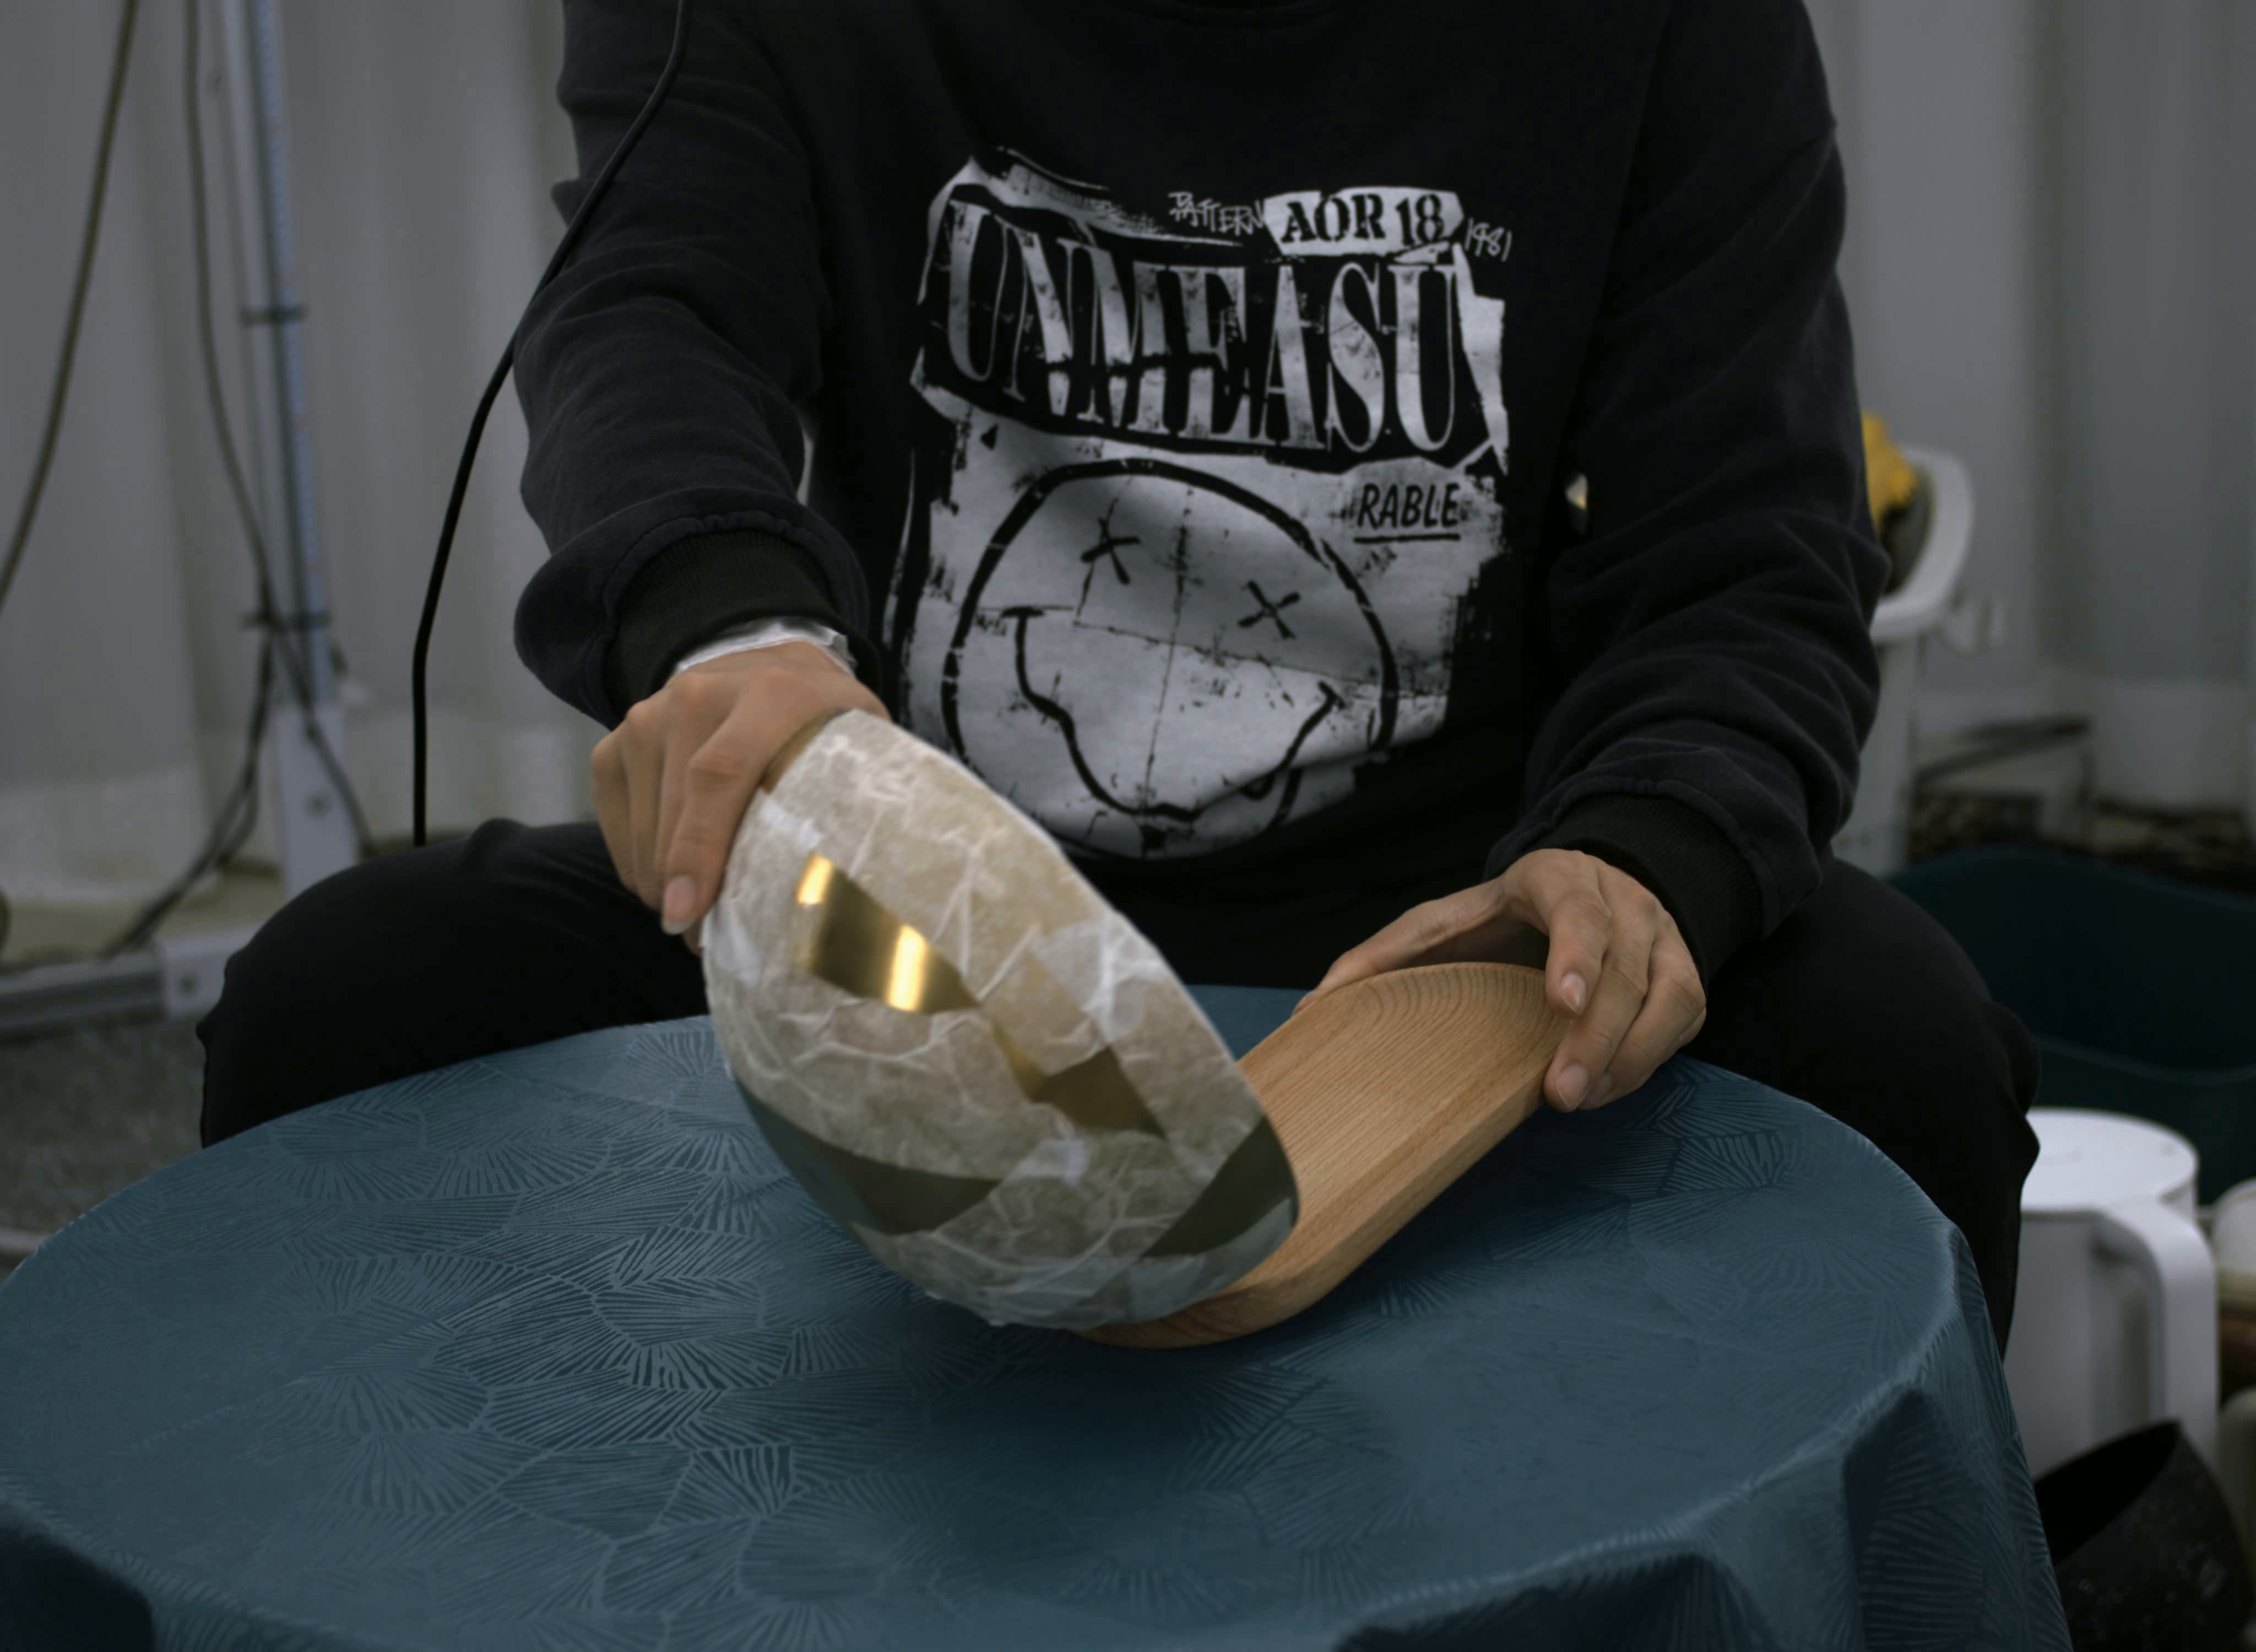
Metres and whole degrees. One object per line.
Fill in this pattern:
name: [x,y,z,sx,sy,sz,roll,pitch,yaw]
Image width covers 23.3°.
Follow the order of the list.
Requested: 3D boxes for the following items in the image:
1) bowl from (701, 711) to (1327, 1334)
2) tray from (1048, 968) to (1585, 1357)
bowl: [-0.051,0.074,1.539,0.095,0.212,0.216,-43,29,-15]
tray: [0.057,0.100,1.654,0.102,0.020,0.232,3,28,35]
